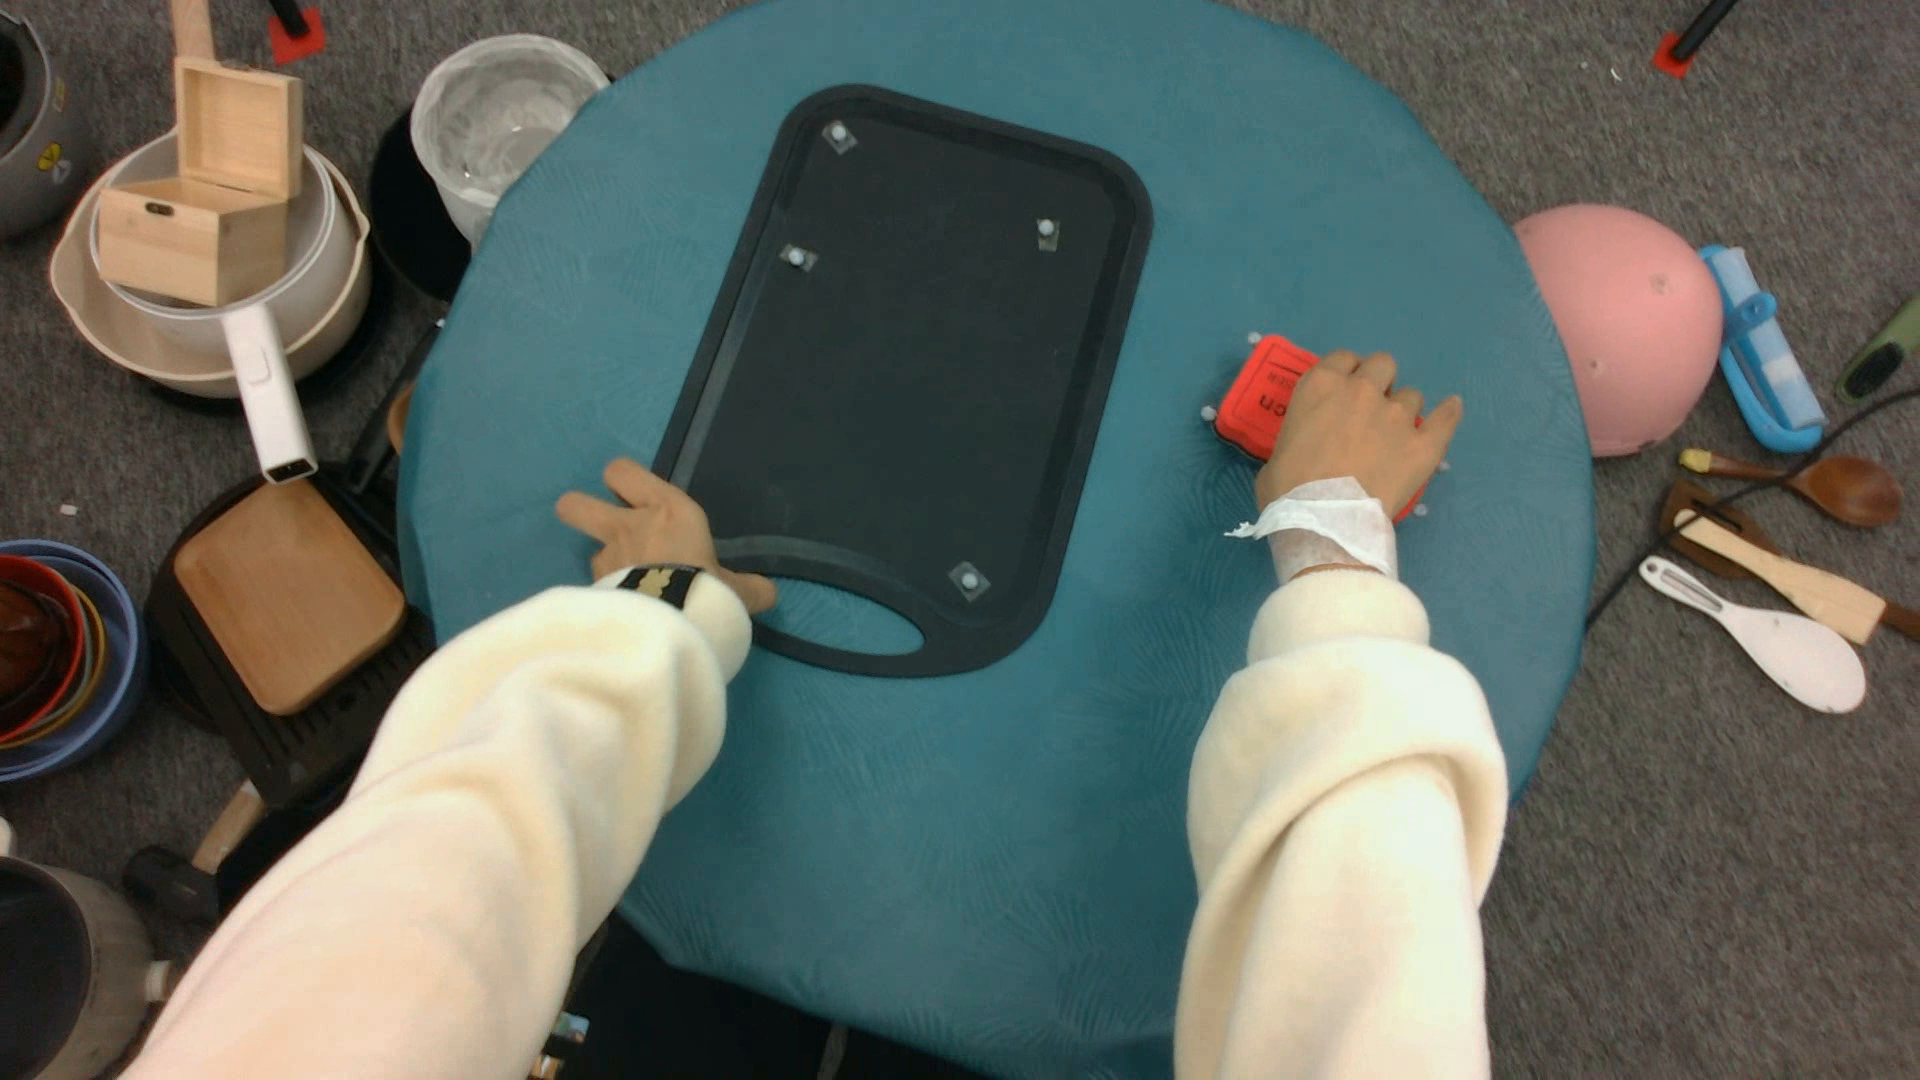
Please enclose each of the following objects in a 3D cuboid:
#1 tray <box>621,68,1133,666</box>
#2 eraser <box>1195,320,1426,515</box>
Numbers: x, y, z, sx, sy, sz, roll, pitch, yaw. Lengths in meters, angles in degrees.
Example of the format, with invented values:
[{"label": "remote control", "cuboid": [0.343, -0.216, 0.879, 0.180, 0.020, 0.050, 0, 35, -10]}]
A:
[{"label": "tray", "cuboid": [-0.038, -0.095, 0.707, 0.211, 0.010, 0.326, 16, 71, 0]}, {"label": "eraser", "cuboid": [0.179, -0.063, 0.705, 0.108, 0.023, 0.059, 31, 76, 4]}]
